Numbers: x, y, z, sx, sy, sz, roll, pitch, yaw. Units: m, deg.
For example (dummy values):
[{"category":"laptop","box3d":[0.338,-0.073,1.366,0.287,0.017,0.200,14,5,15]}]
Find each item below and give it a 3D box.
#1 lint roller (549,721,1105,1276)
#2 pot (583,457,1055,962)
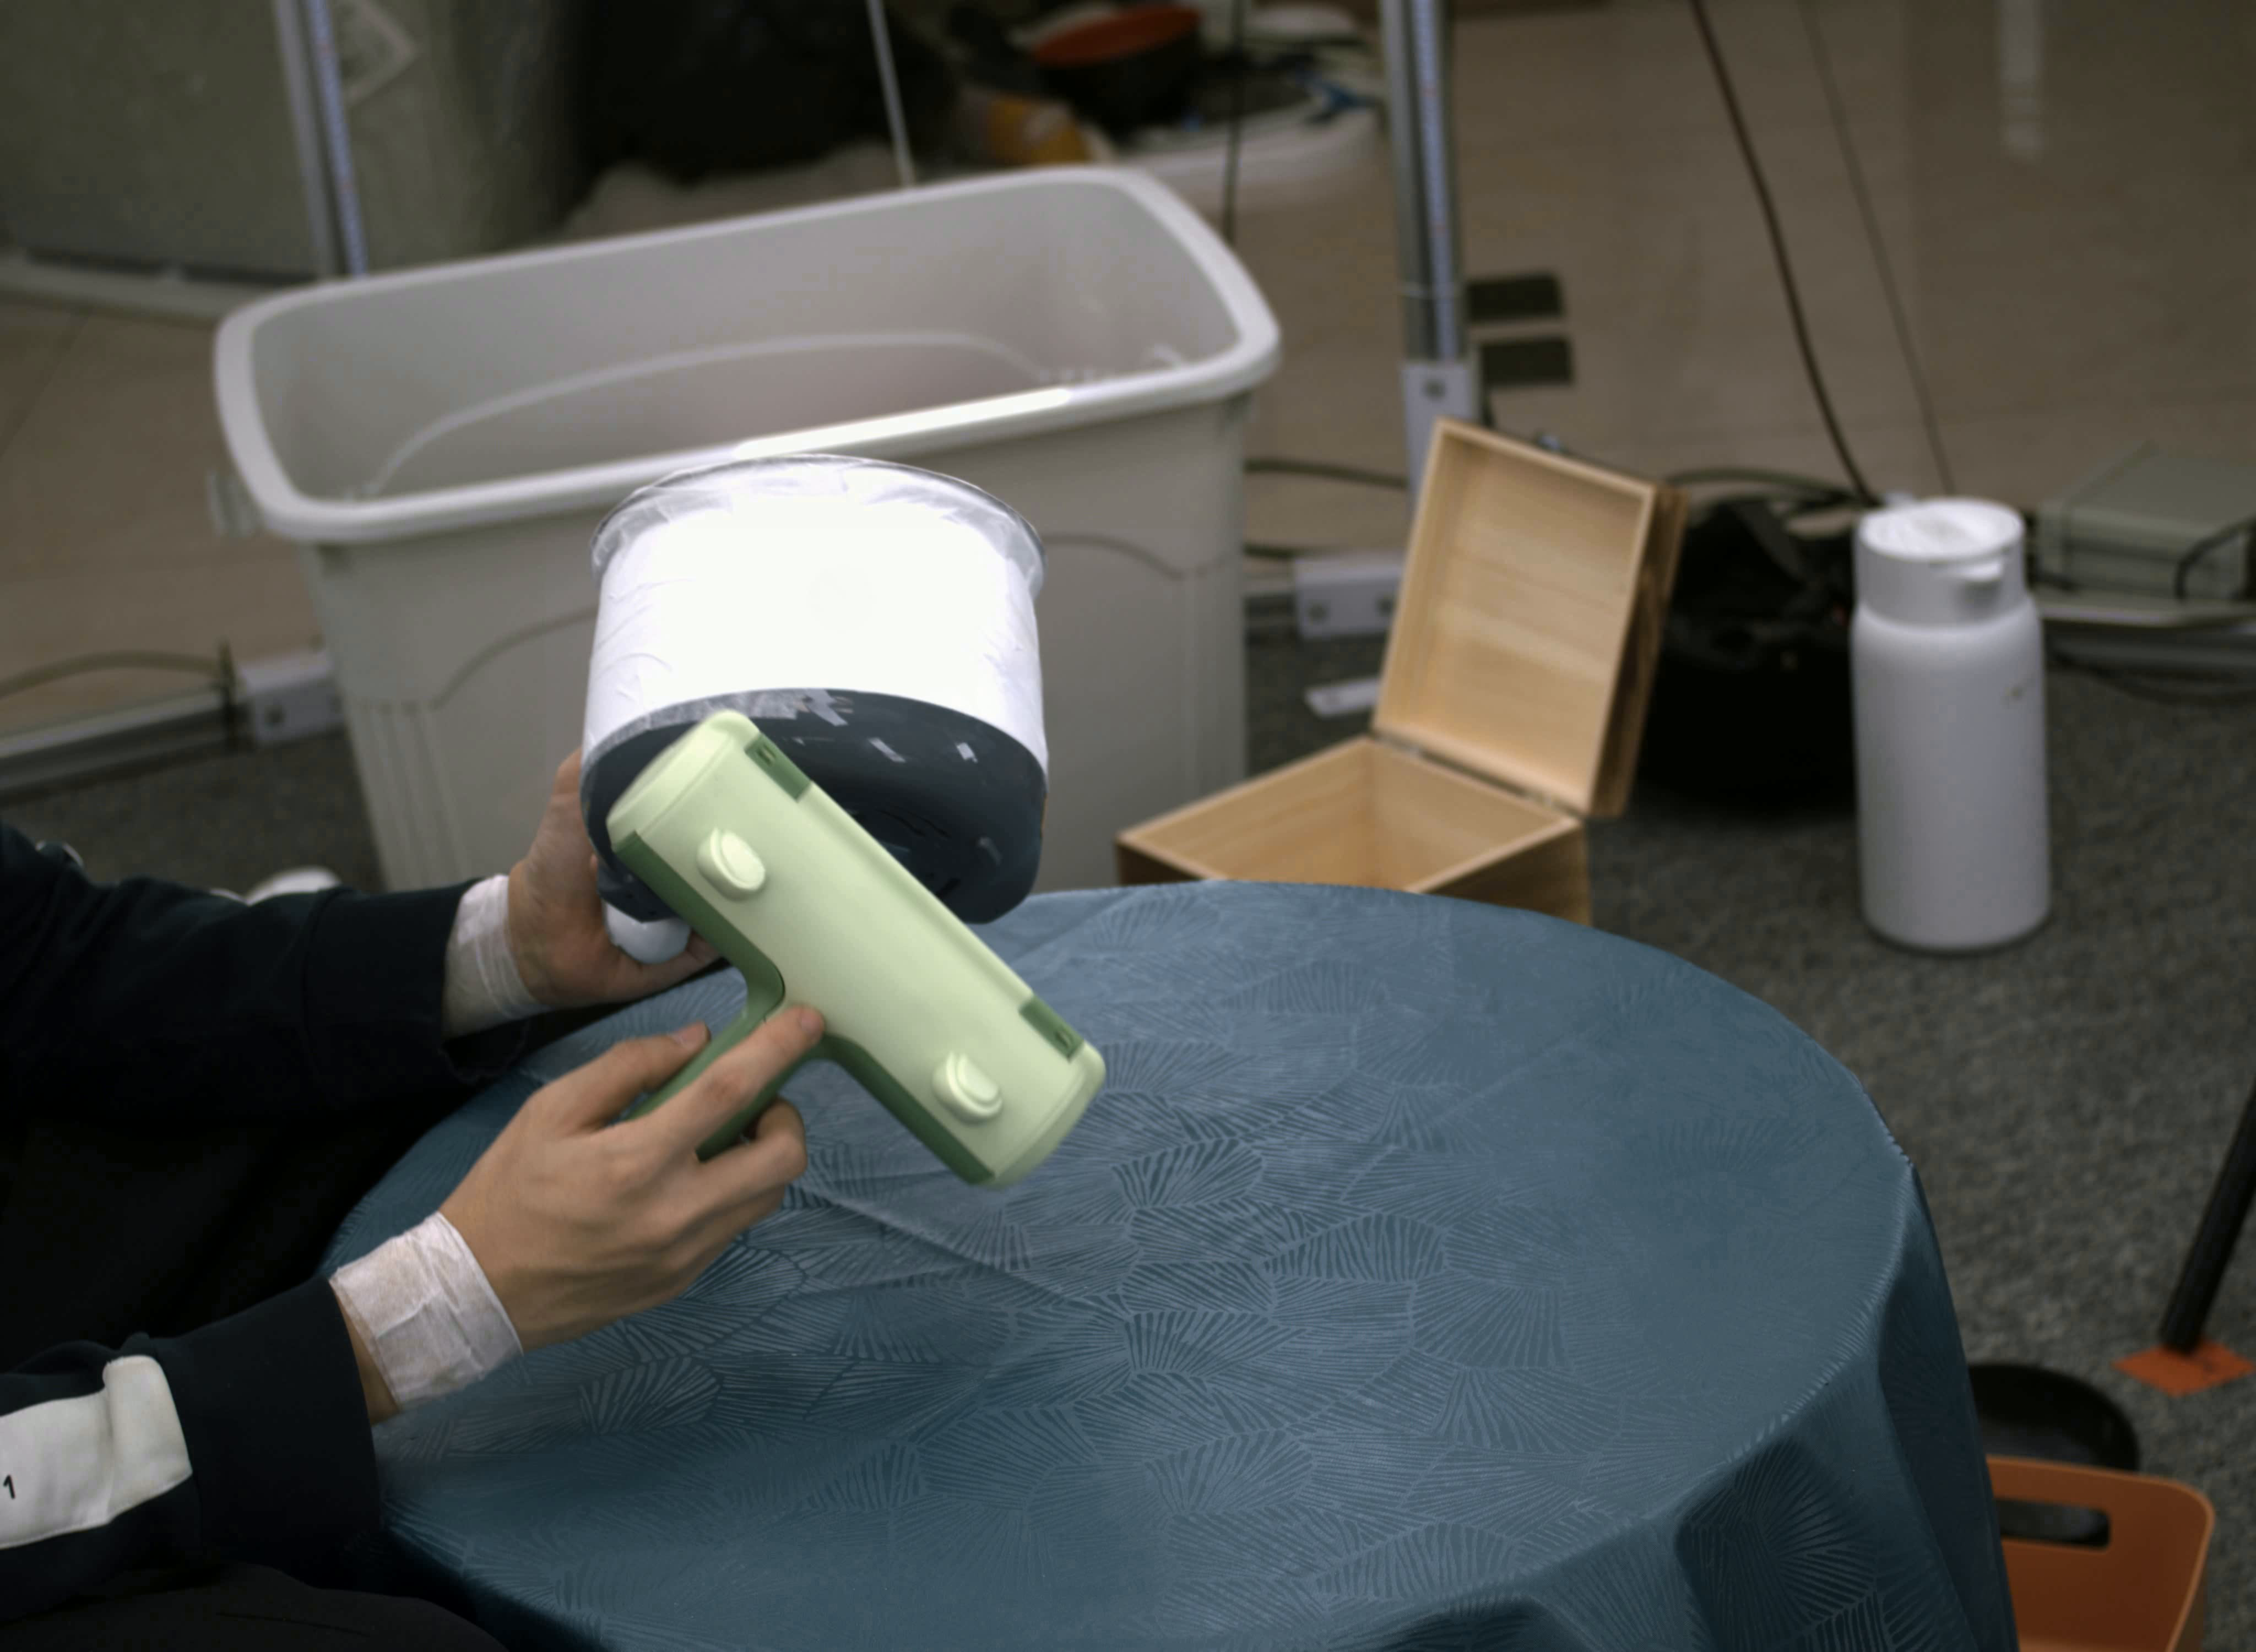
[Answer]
[{"category":"lint roller","box3d":[-0.135,0.092,2.002,0.182,0.199,0.082,-47,10,-8]},{"category":"pot","box3d":[-0.132,-0.034,2.165,0.179,0.135,0.235,14,-27,-31]}]
